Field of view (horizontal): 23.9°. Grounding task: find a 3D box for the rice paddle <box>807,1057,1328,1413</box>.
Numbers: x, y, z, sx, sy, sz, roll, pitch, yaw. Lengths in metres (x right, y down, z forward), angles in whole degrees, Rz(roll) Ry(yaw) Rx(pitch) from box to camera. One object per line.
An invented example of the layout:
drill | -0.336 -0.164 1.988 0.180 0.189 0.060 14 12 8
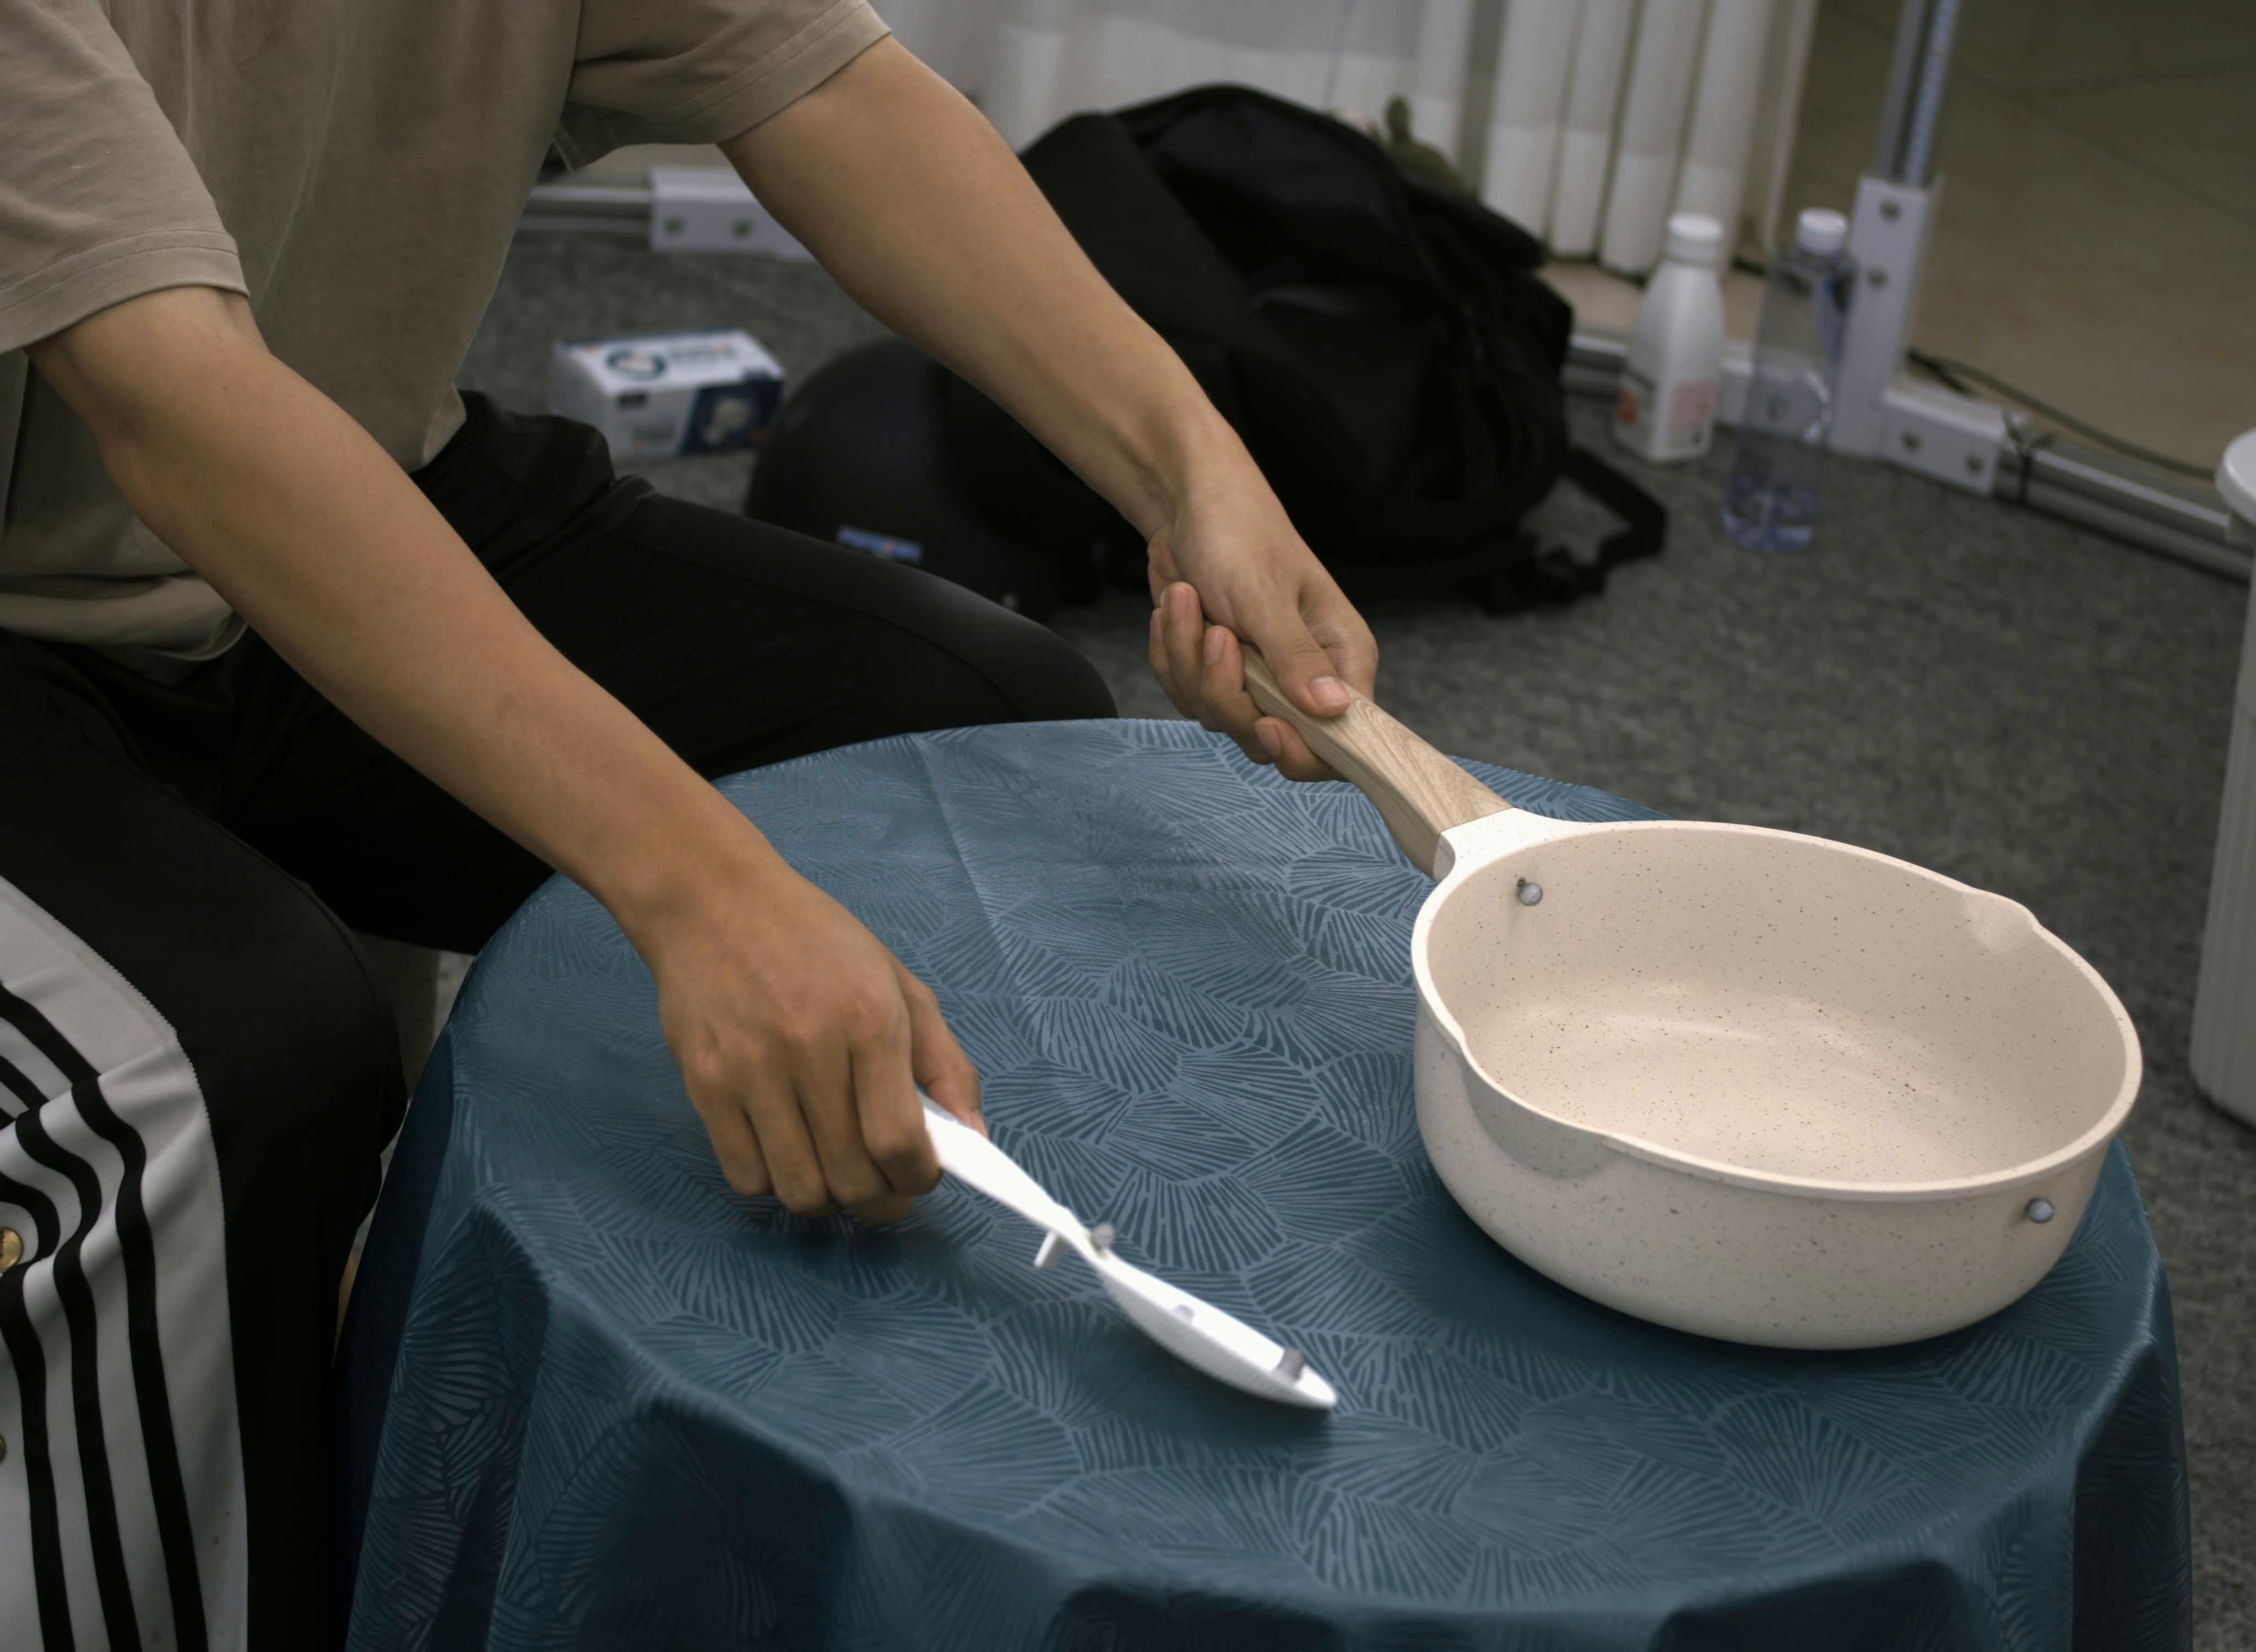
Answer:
rice paddle | -0.018 0.135 1.721 0.206 0.029 0.068 30 6 27

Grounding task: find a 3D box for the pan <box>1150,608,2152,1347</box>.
pan | 0.159 0.049 1.887 0.262 0.101 0.438 -20 37 -38
